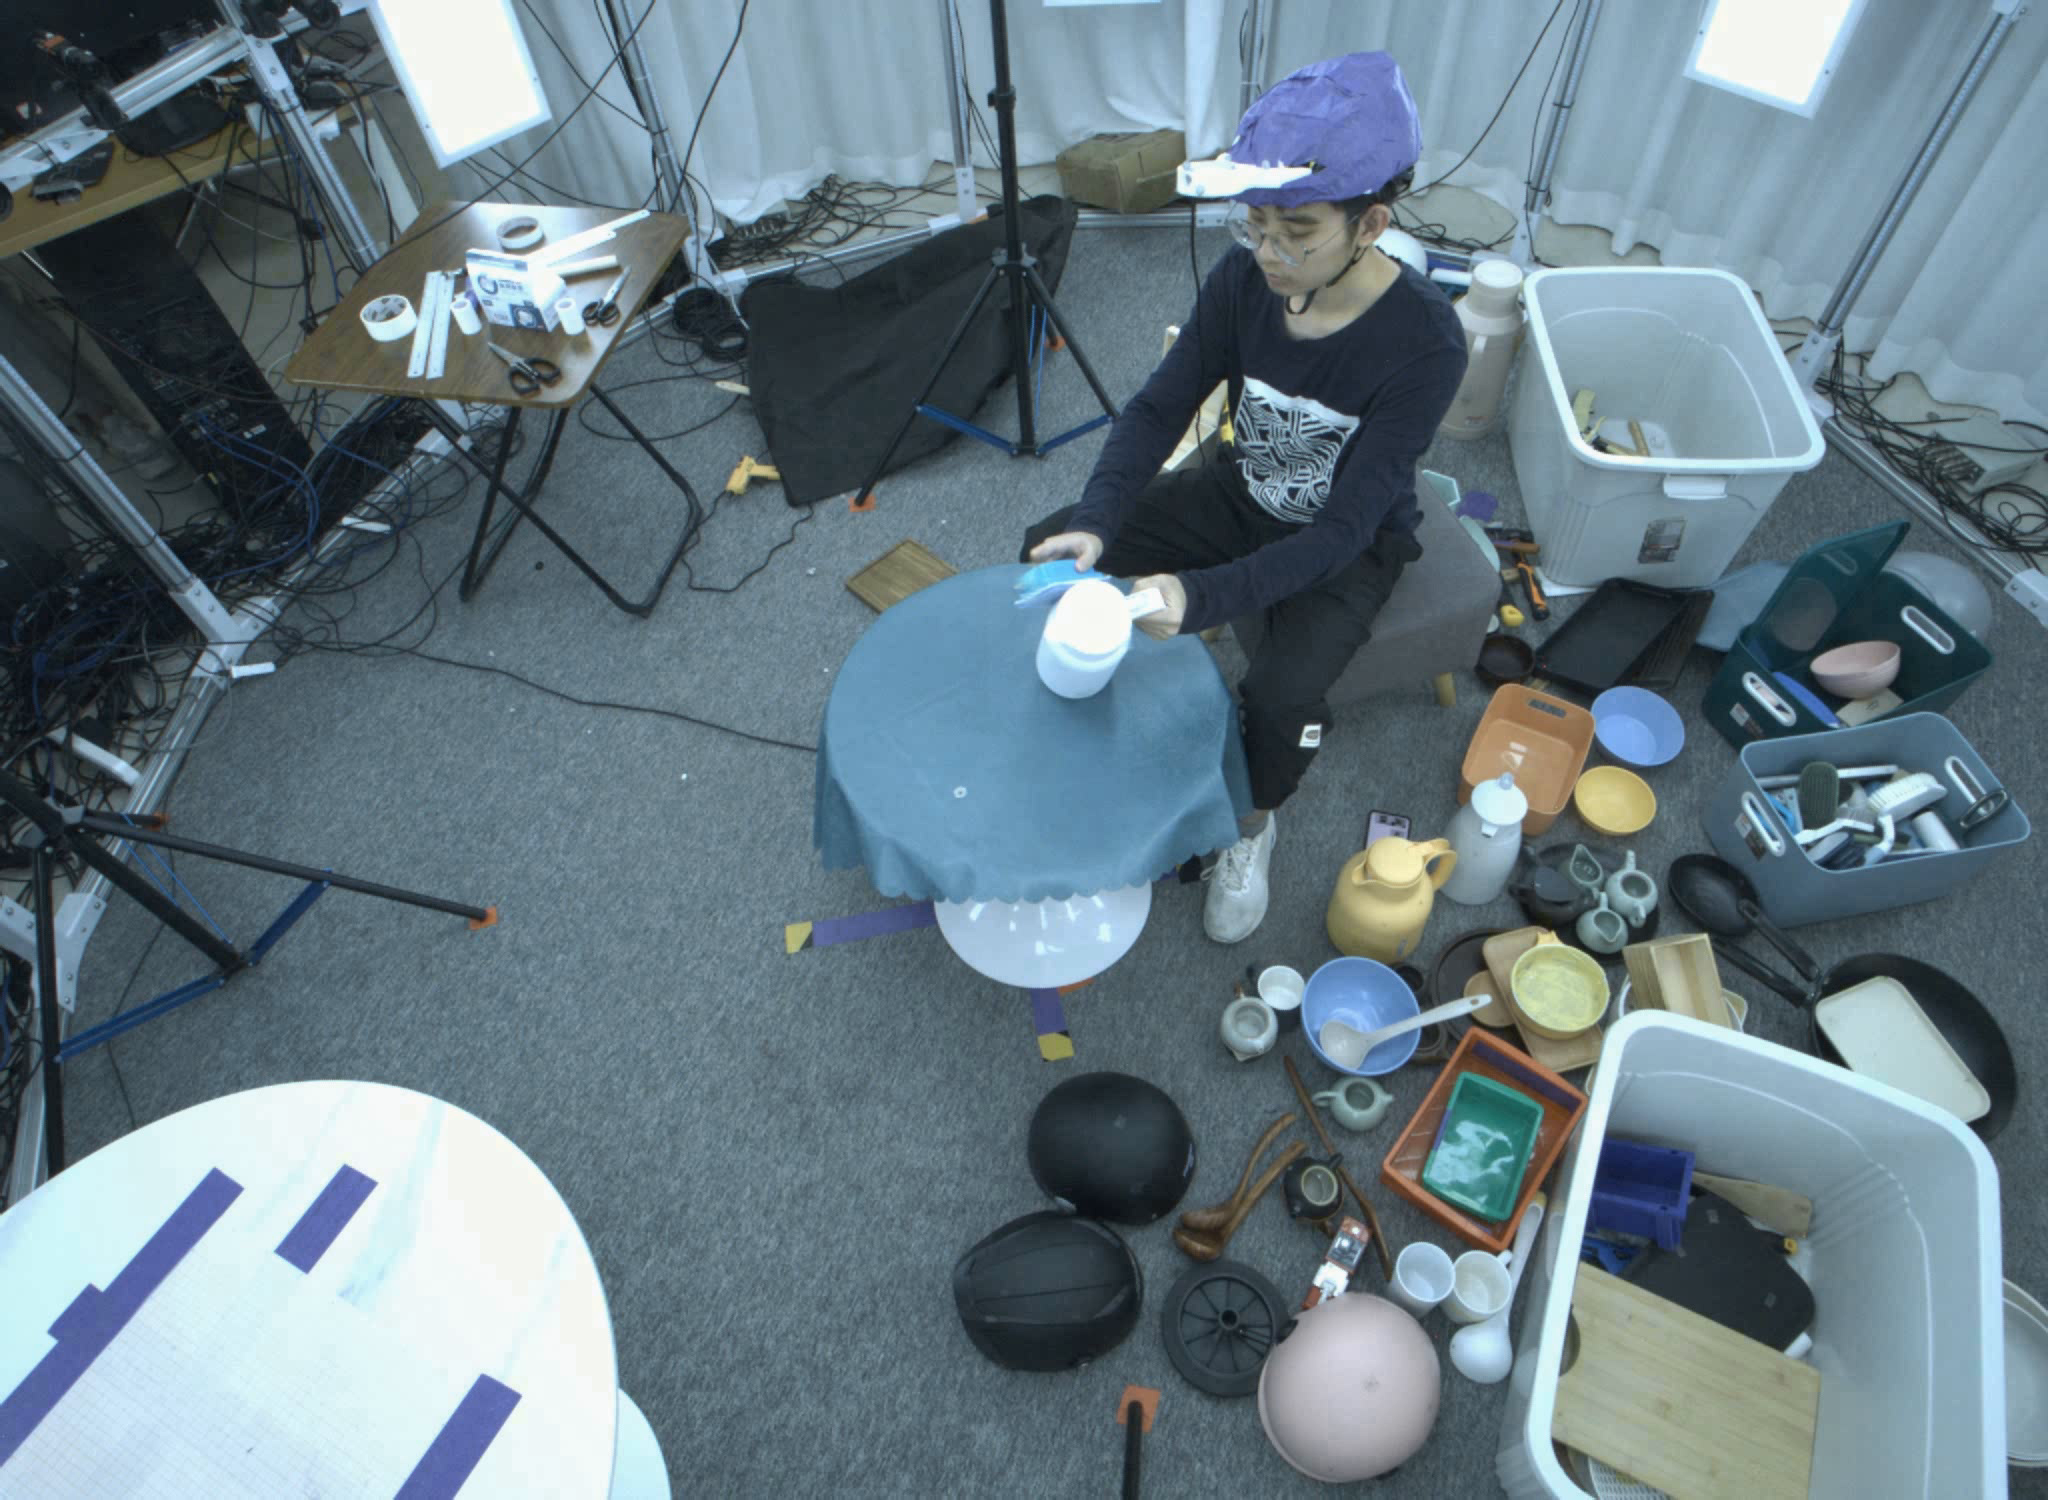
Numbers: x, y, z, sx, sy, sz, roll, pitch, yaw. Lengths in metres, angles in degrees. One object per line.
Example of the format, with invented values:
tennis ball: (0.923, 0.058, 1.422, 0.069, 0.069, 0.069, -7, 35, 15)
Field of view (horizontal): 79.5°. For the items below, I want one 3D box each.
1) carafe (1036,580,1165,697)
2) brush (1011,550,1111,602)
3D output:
carafe: (0.098, -0.161, 1.715, 0.173, 0.269, 0.123, -22, 82, -7)
brush: (0.047, -0.237, 1.666, 0.146, 0.082, 0.056, -20, 88, -45)
